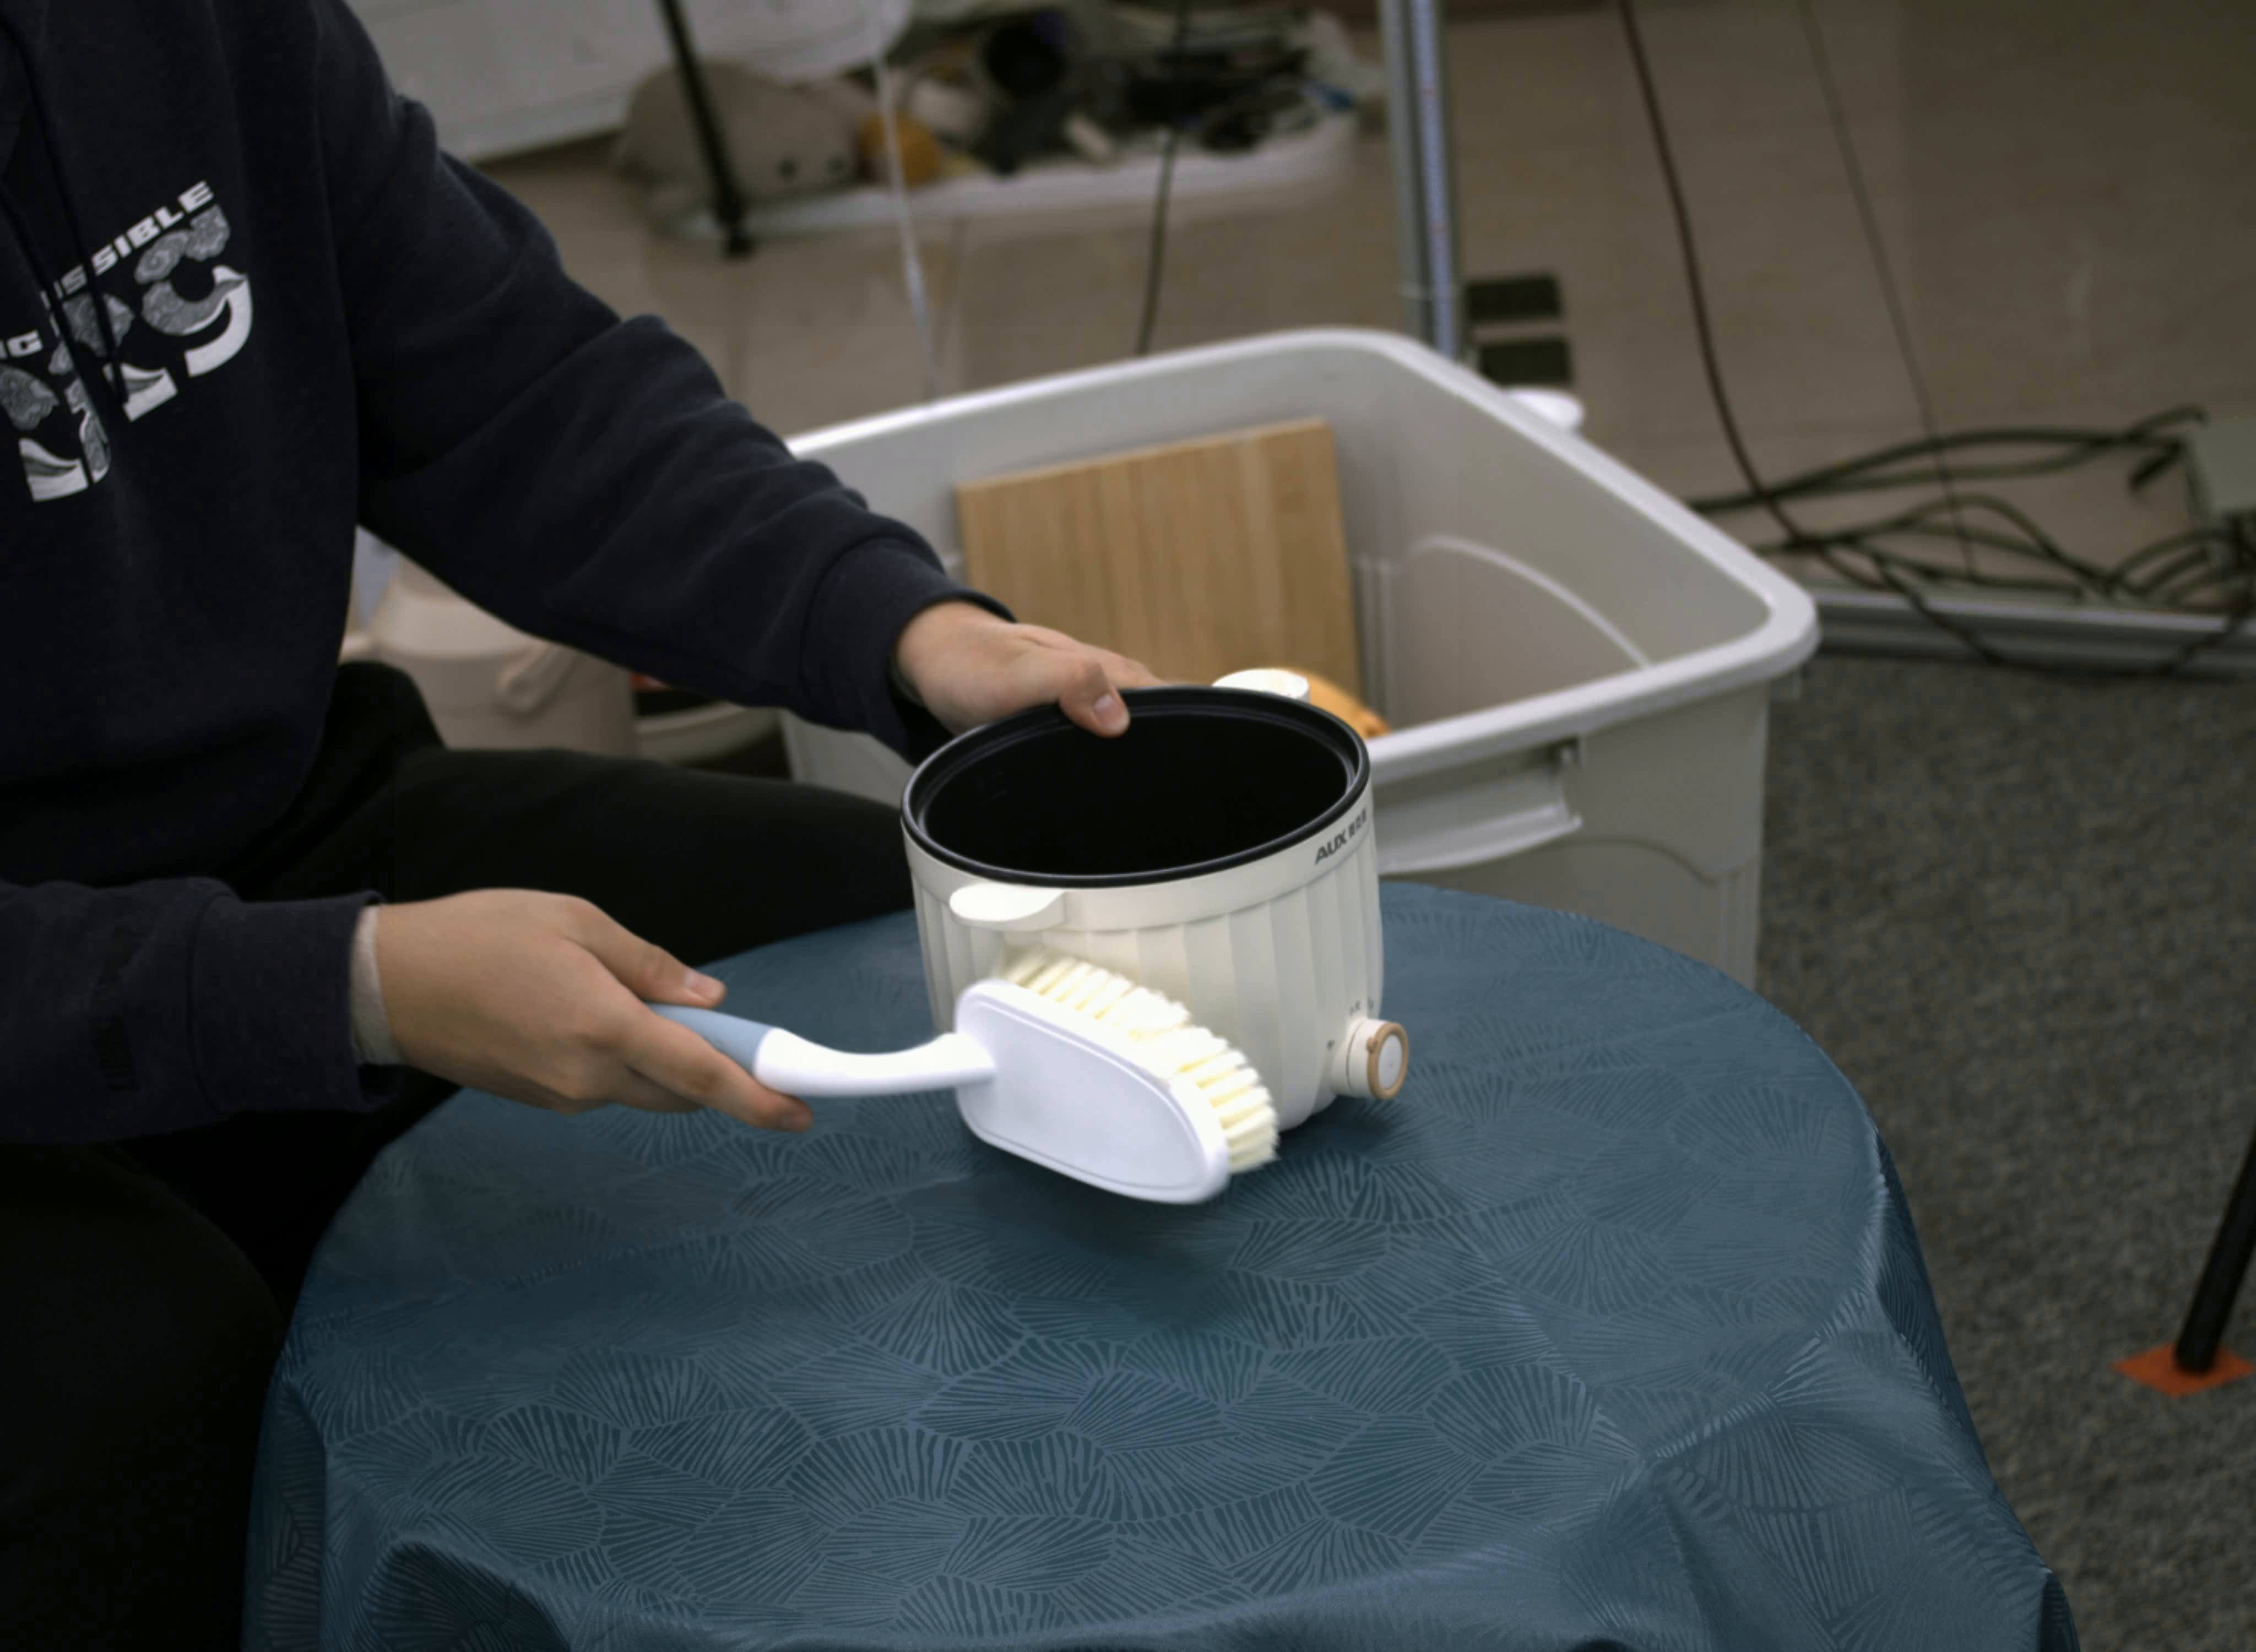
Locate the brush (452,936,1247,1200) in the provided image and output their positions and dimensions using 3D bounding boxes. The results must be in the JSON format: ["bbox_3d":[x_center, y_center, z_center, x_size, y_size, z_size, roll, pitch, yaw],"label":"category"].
[{"bbox_3d":[-0.100,0.069,2.115,0.324,0.083,0.085,14,-5,22],"label":"brush"}]

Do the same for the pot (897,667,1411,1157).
[{"bbox_3d":[0.014,0.042,2.188,0.190,0.145,0.237,5,28,30],"label":"pot"}]
